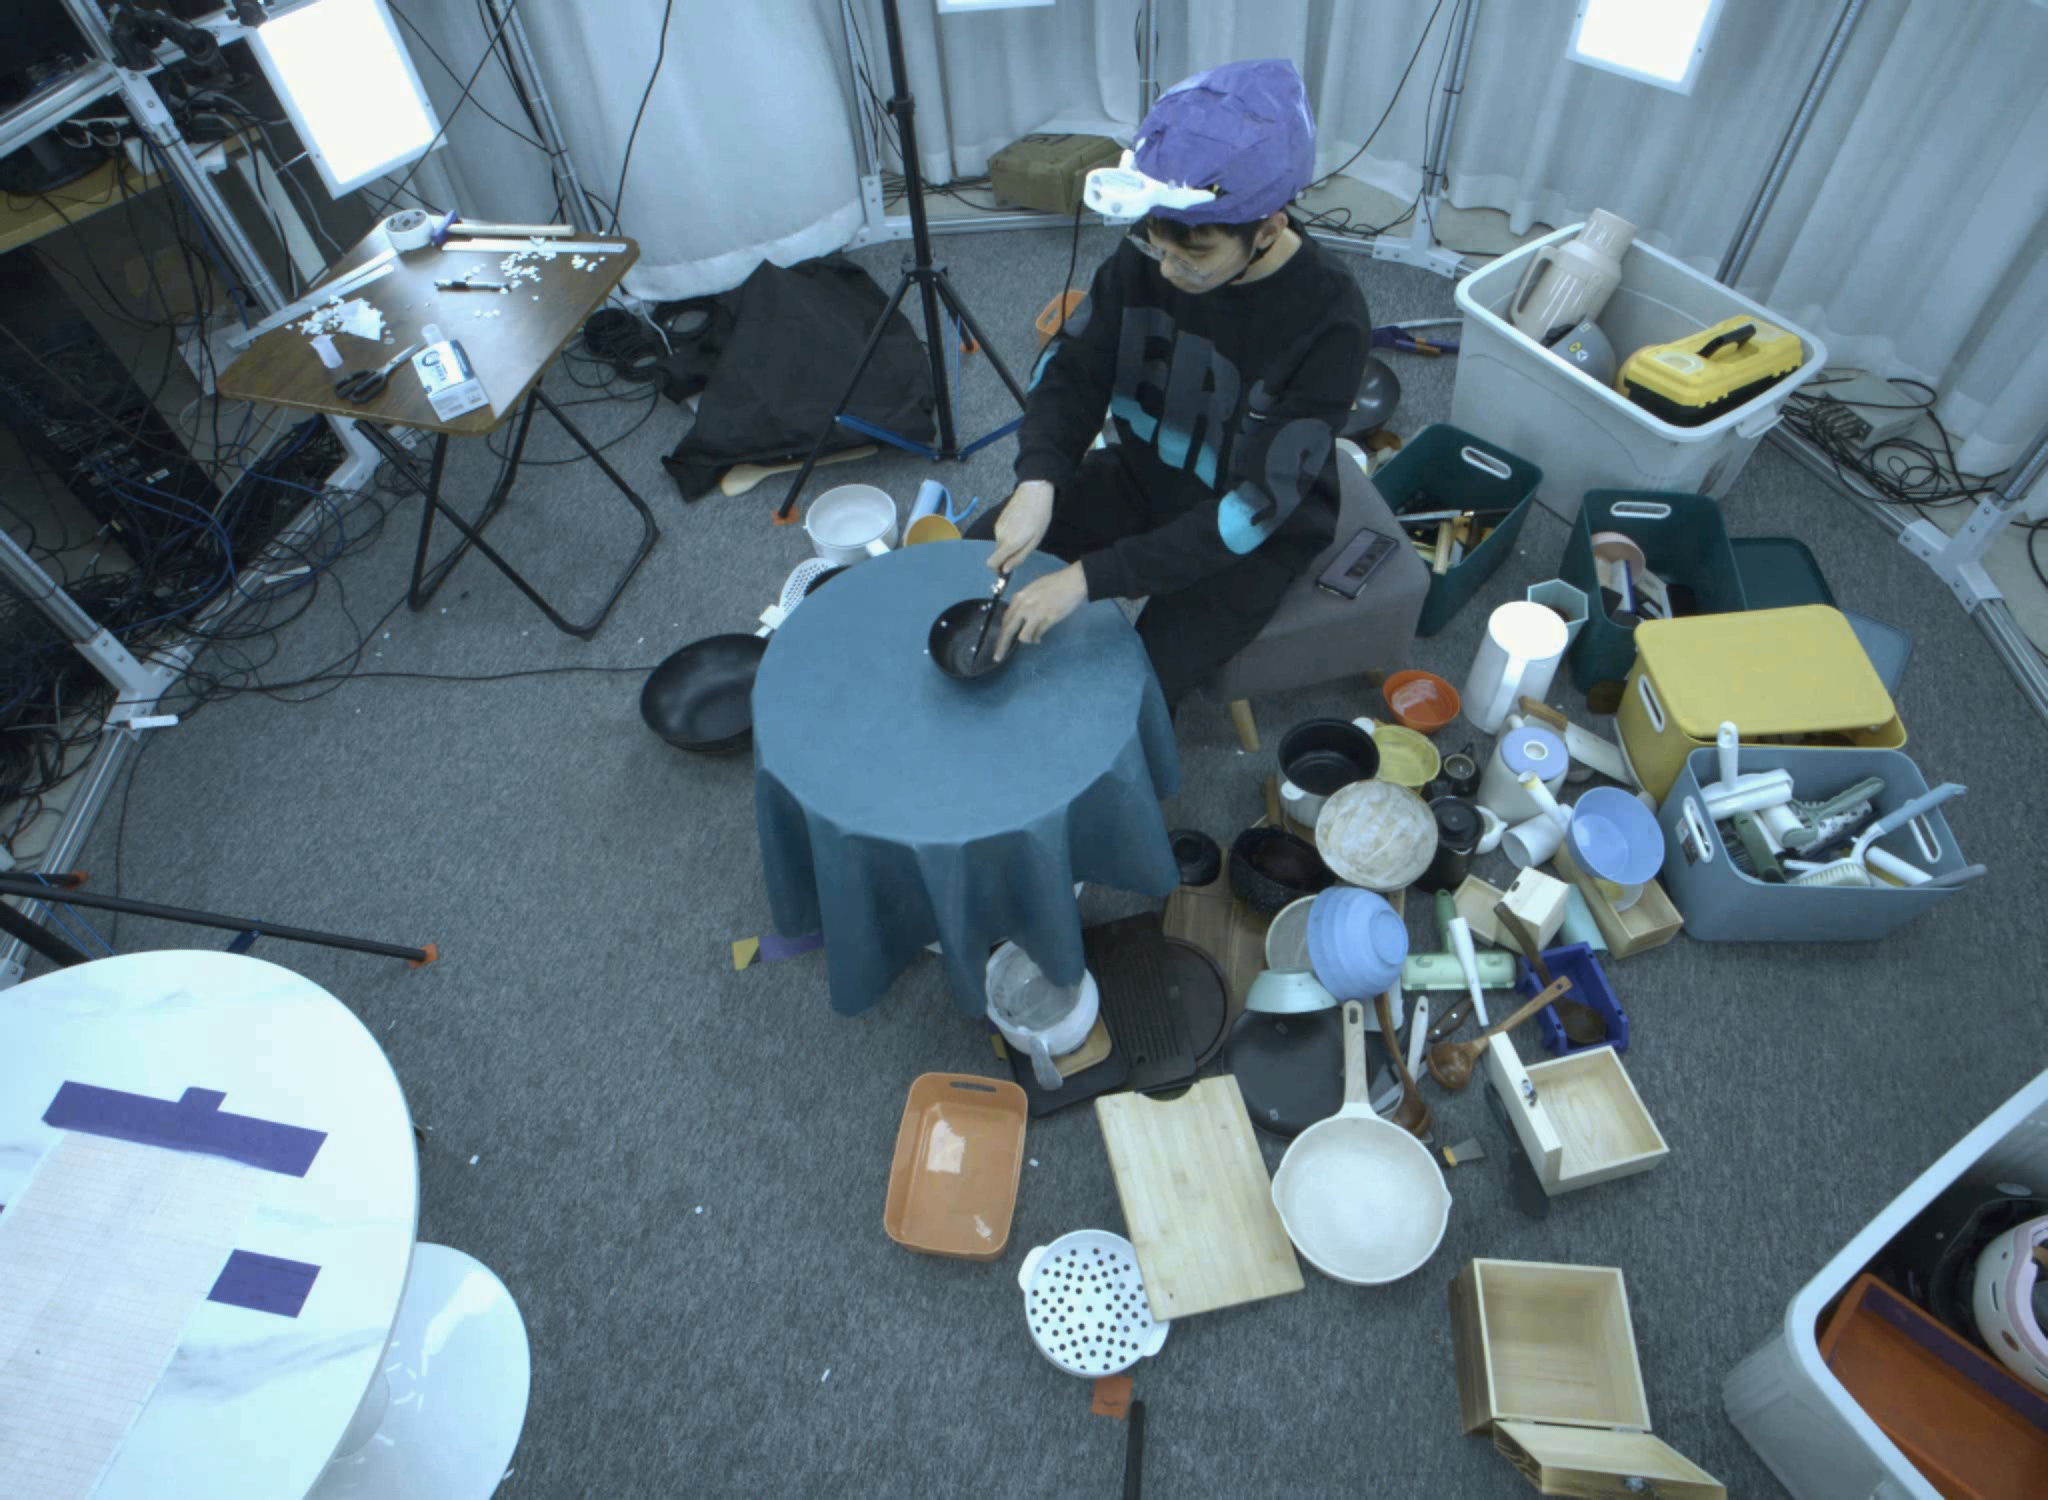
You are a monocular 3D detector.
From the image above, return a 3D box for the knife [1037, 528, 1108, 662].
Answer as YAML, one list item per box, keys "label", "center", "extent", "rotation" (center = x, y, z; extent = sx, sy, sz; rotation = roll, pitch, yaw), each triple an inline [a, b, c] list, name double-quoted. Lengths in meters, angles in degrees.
- label: "knife"
  center: [0.071, -0.233, 1.843]
  extent: [0.017, 0.026, 0.225]
  rotation: [26, 93, 25]

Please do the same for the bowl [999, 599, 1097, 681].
- label: "bowl"
  center: [0.038, -0.158, 1.858]
  extent: [0.135, 0.067, 0.170]
  rotation: [22, 57, 17]
